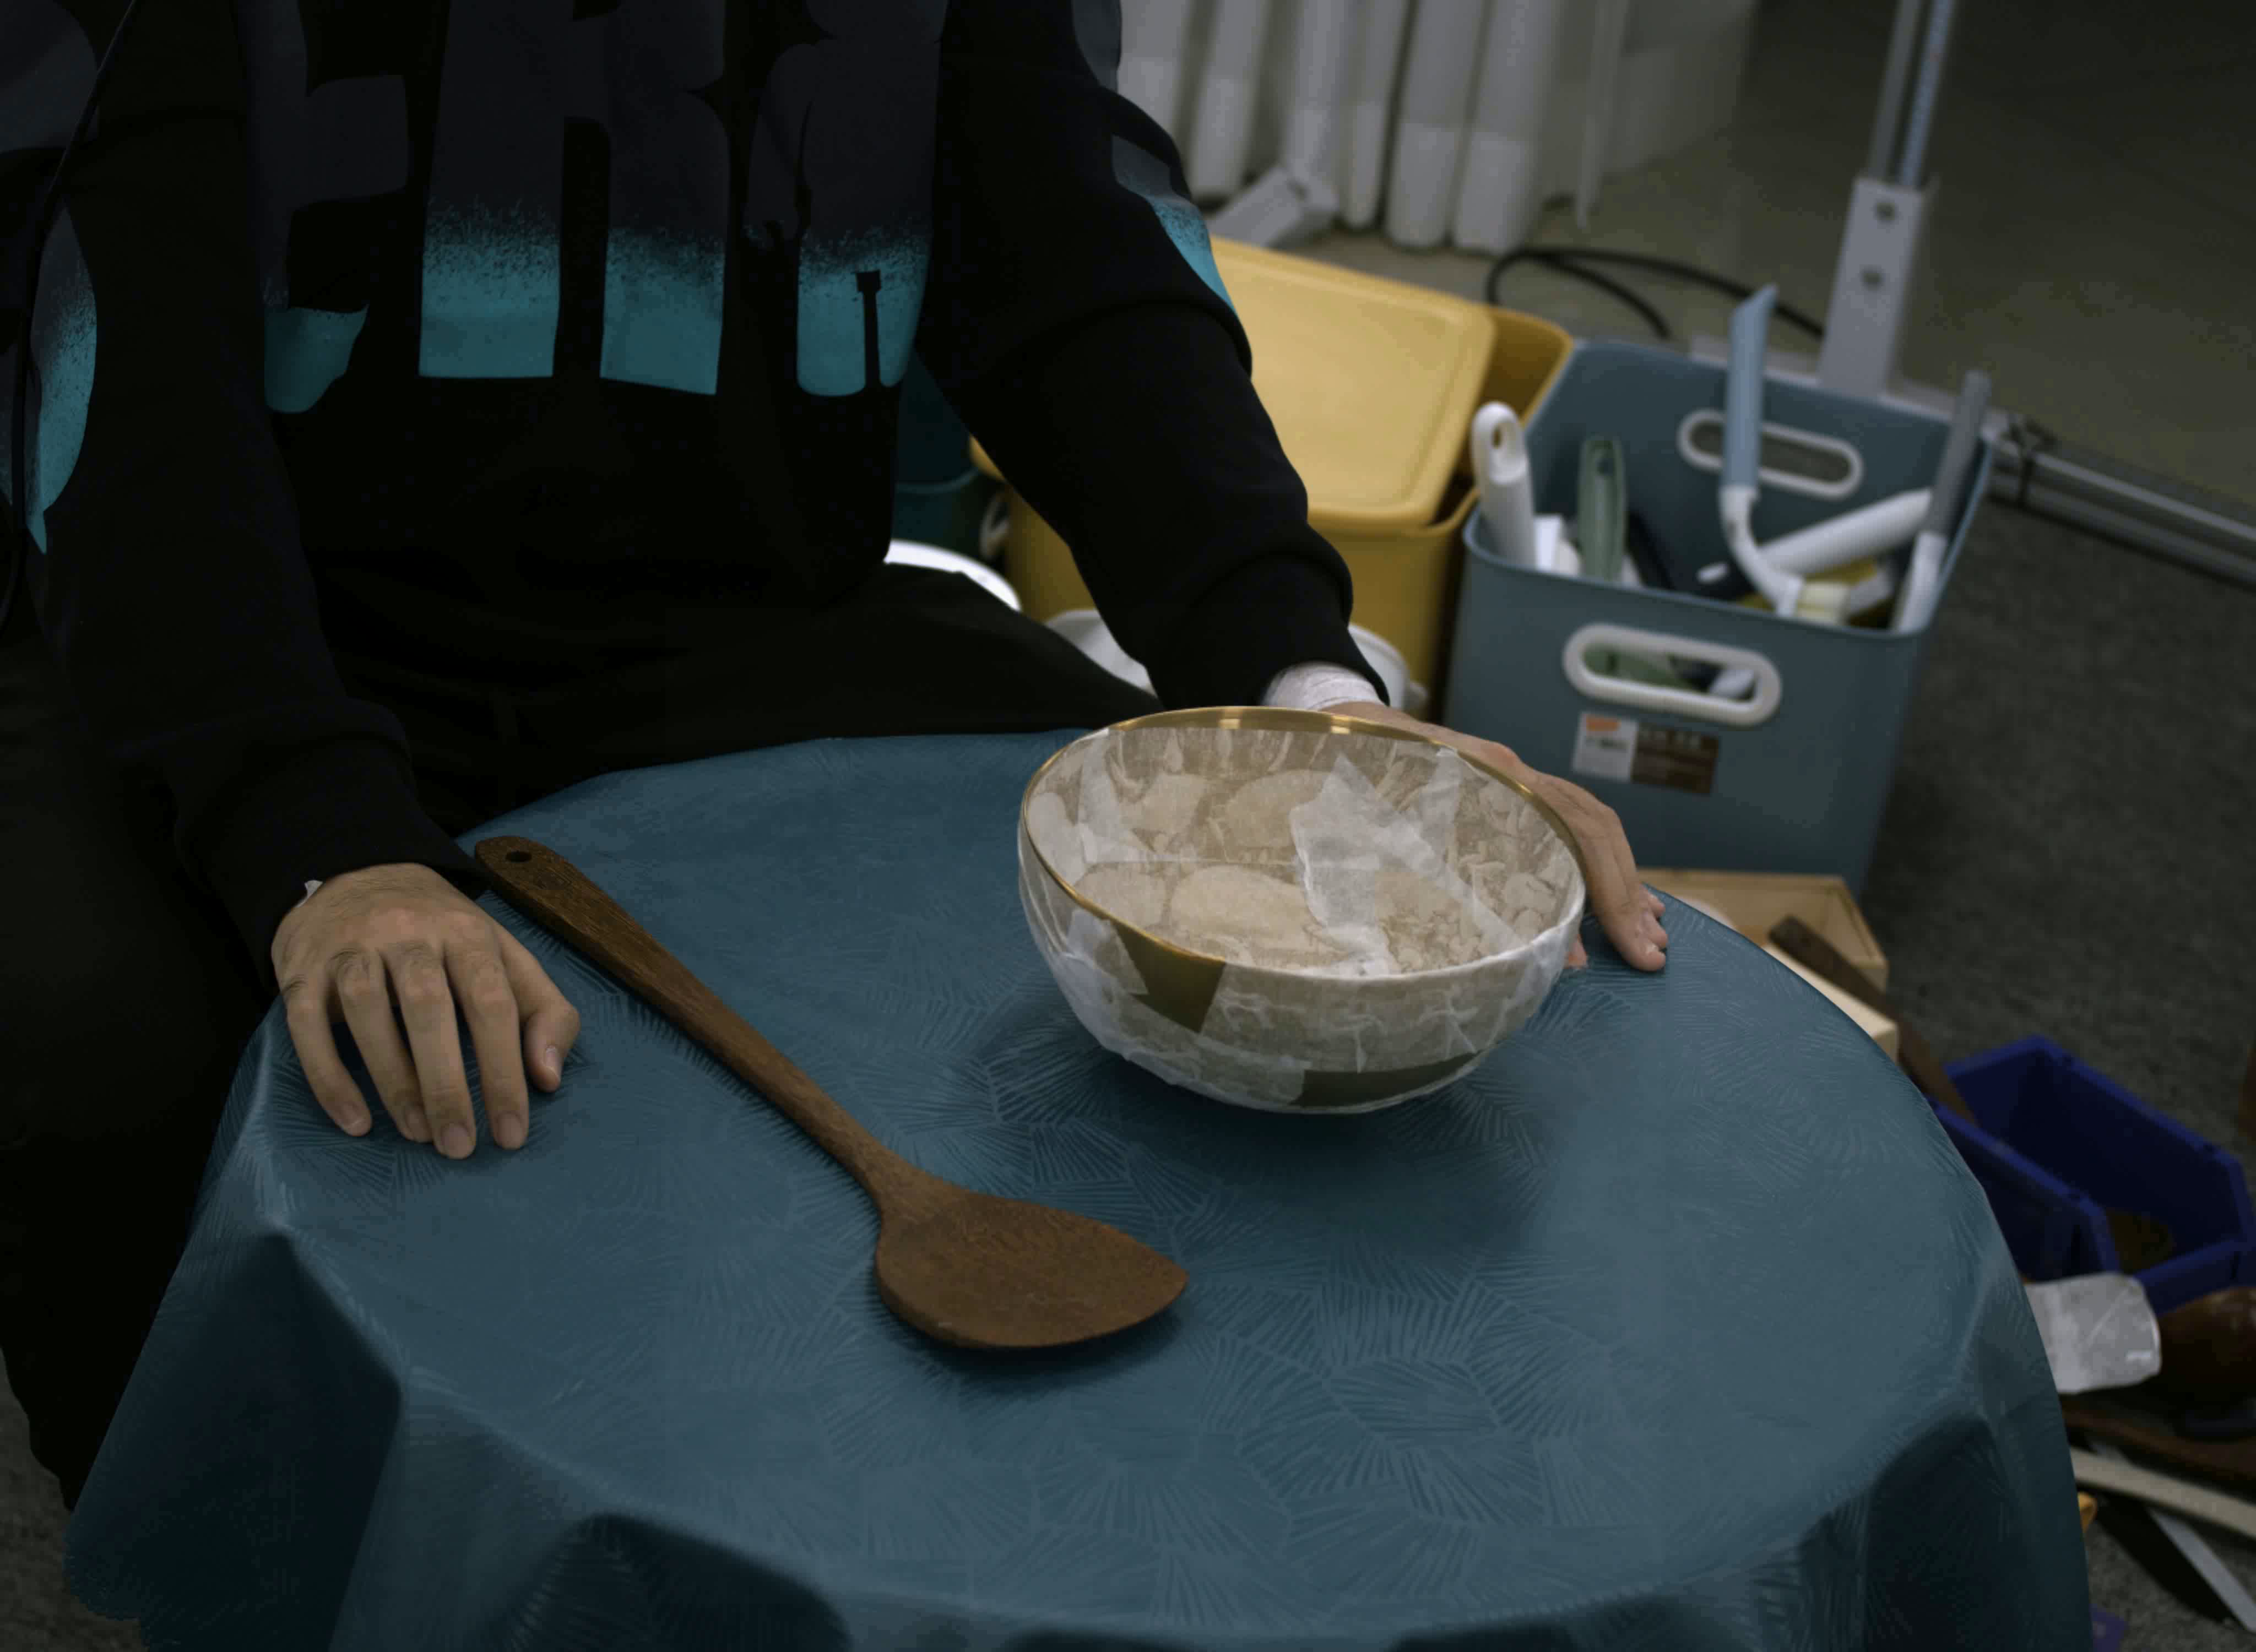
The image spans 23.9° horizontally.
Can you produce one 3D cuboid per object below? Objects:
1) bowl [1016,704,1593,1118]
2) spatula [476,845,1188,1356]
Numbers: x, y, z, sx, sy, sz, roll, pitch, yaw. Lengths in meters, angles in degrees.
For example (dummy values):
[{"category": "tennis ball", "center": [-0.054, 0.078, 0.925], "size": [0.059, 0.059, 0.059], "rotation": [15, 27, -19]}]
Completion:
[{"category": "bowl", "center": [0.058, 0.041, 1.875], "size": [0.214, 0.094, 0.216], "rotation": [3, 26, -2]}, {"category": "spatula", "center": [-0.122, 0.086, 1.832], "size": [0.095, 0.016, 0.389], "rotation": [-13, 32, -34]}]
